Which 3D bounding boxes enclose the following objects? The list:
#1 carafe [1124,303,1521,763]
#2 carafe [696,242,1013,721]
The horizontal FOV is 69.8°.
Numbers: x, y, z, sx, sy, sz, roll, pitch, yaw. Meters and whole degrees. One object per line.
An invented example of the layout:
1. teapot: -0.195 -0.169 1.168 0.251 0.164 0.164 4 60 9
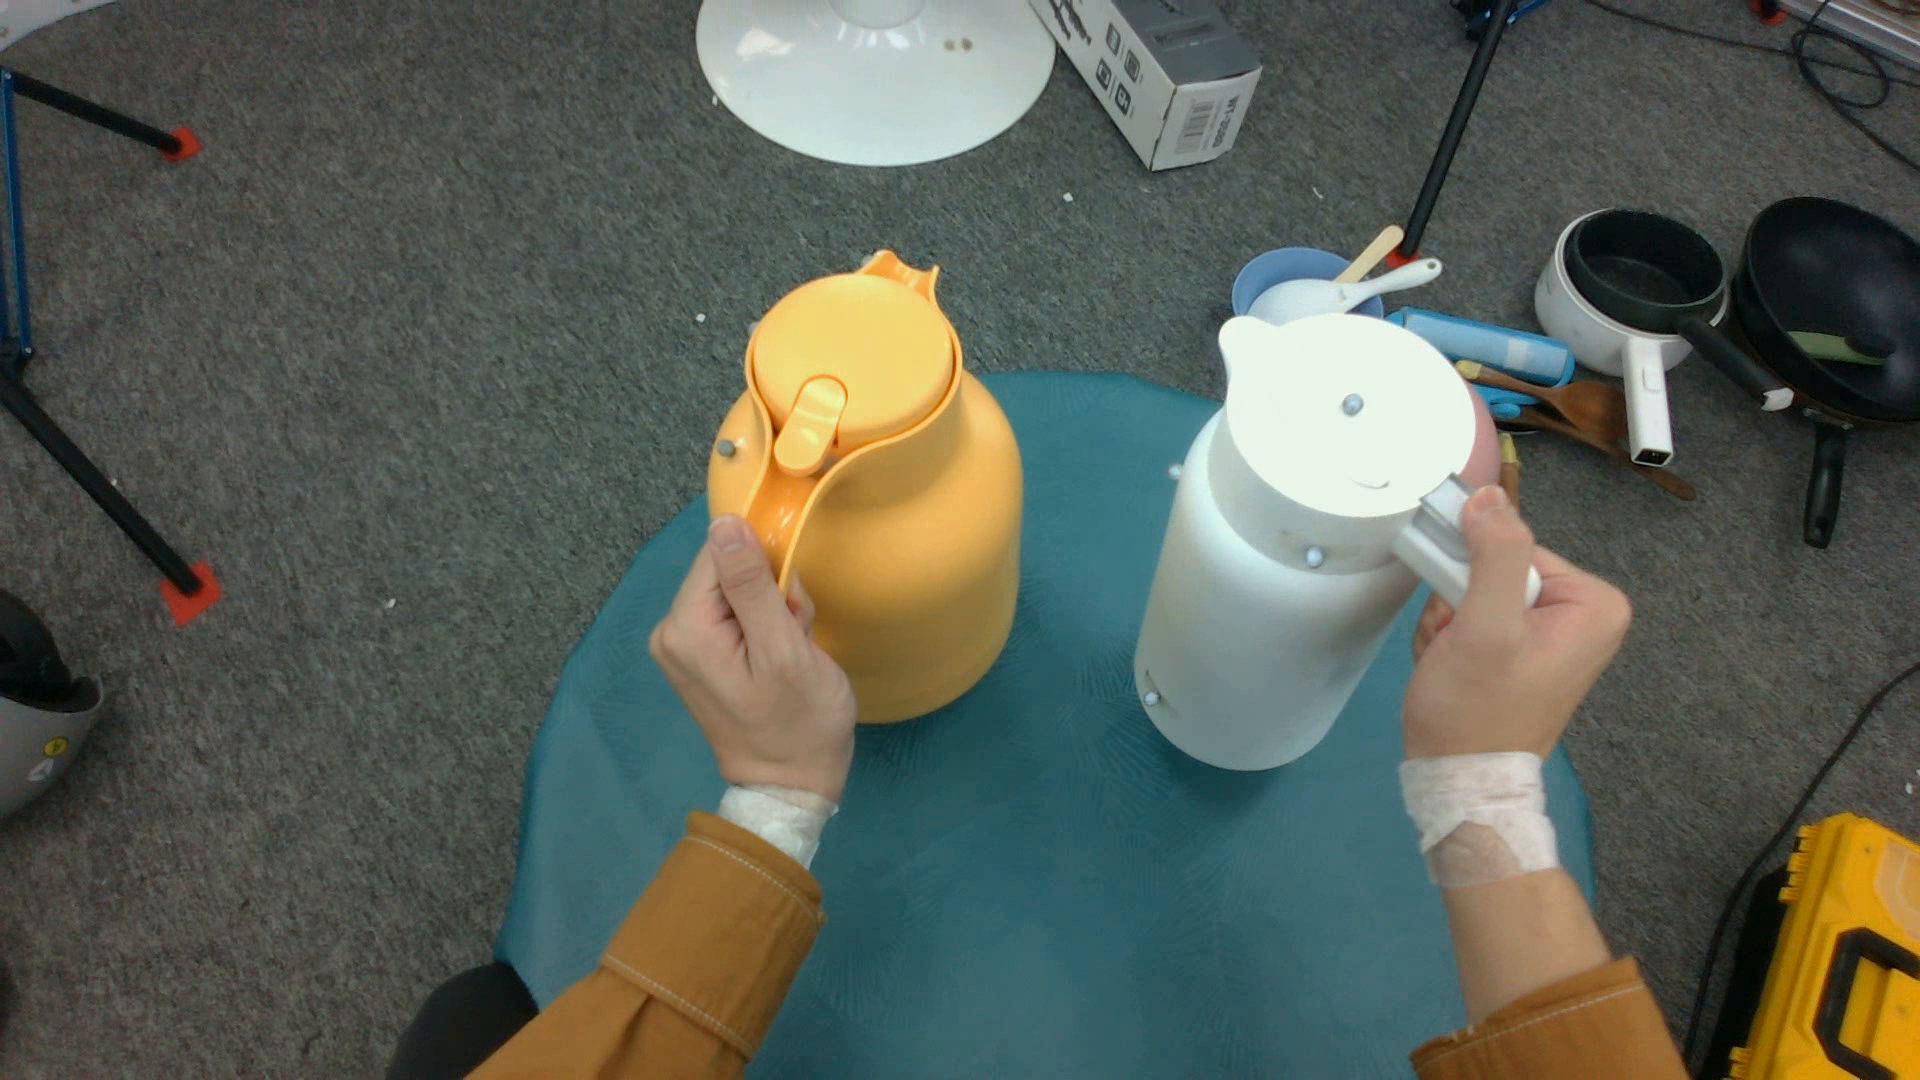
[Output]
1. carafe: 0.163 0.020 0.665 0.124 0.267 0.173 -35 66 -21
2. carafe: -0.062 -0.010 0.701 0.163 0.259 0.203 19 59 13
